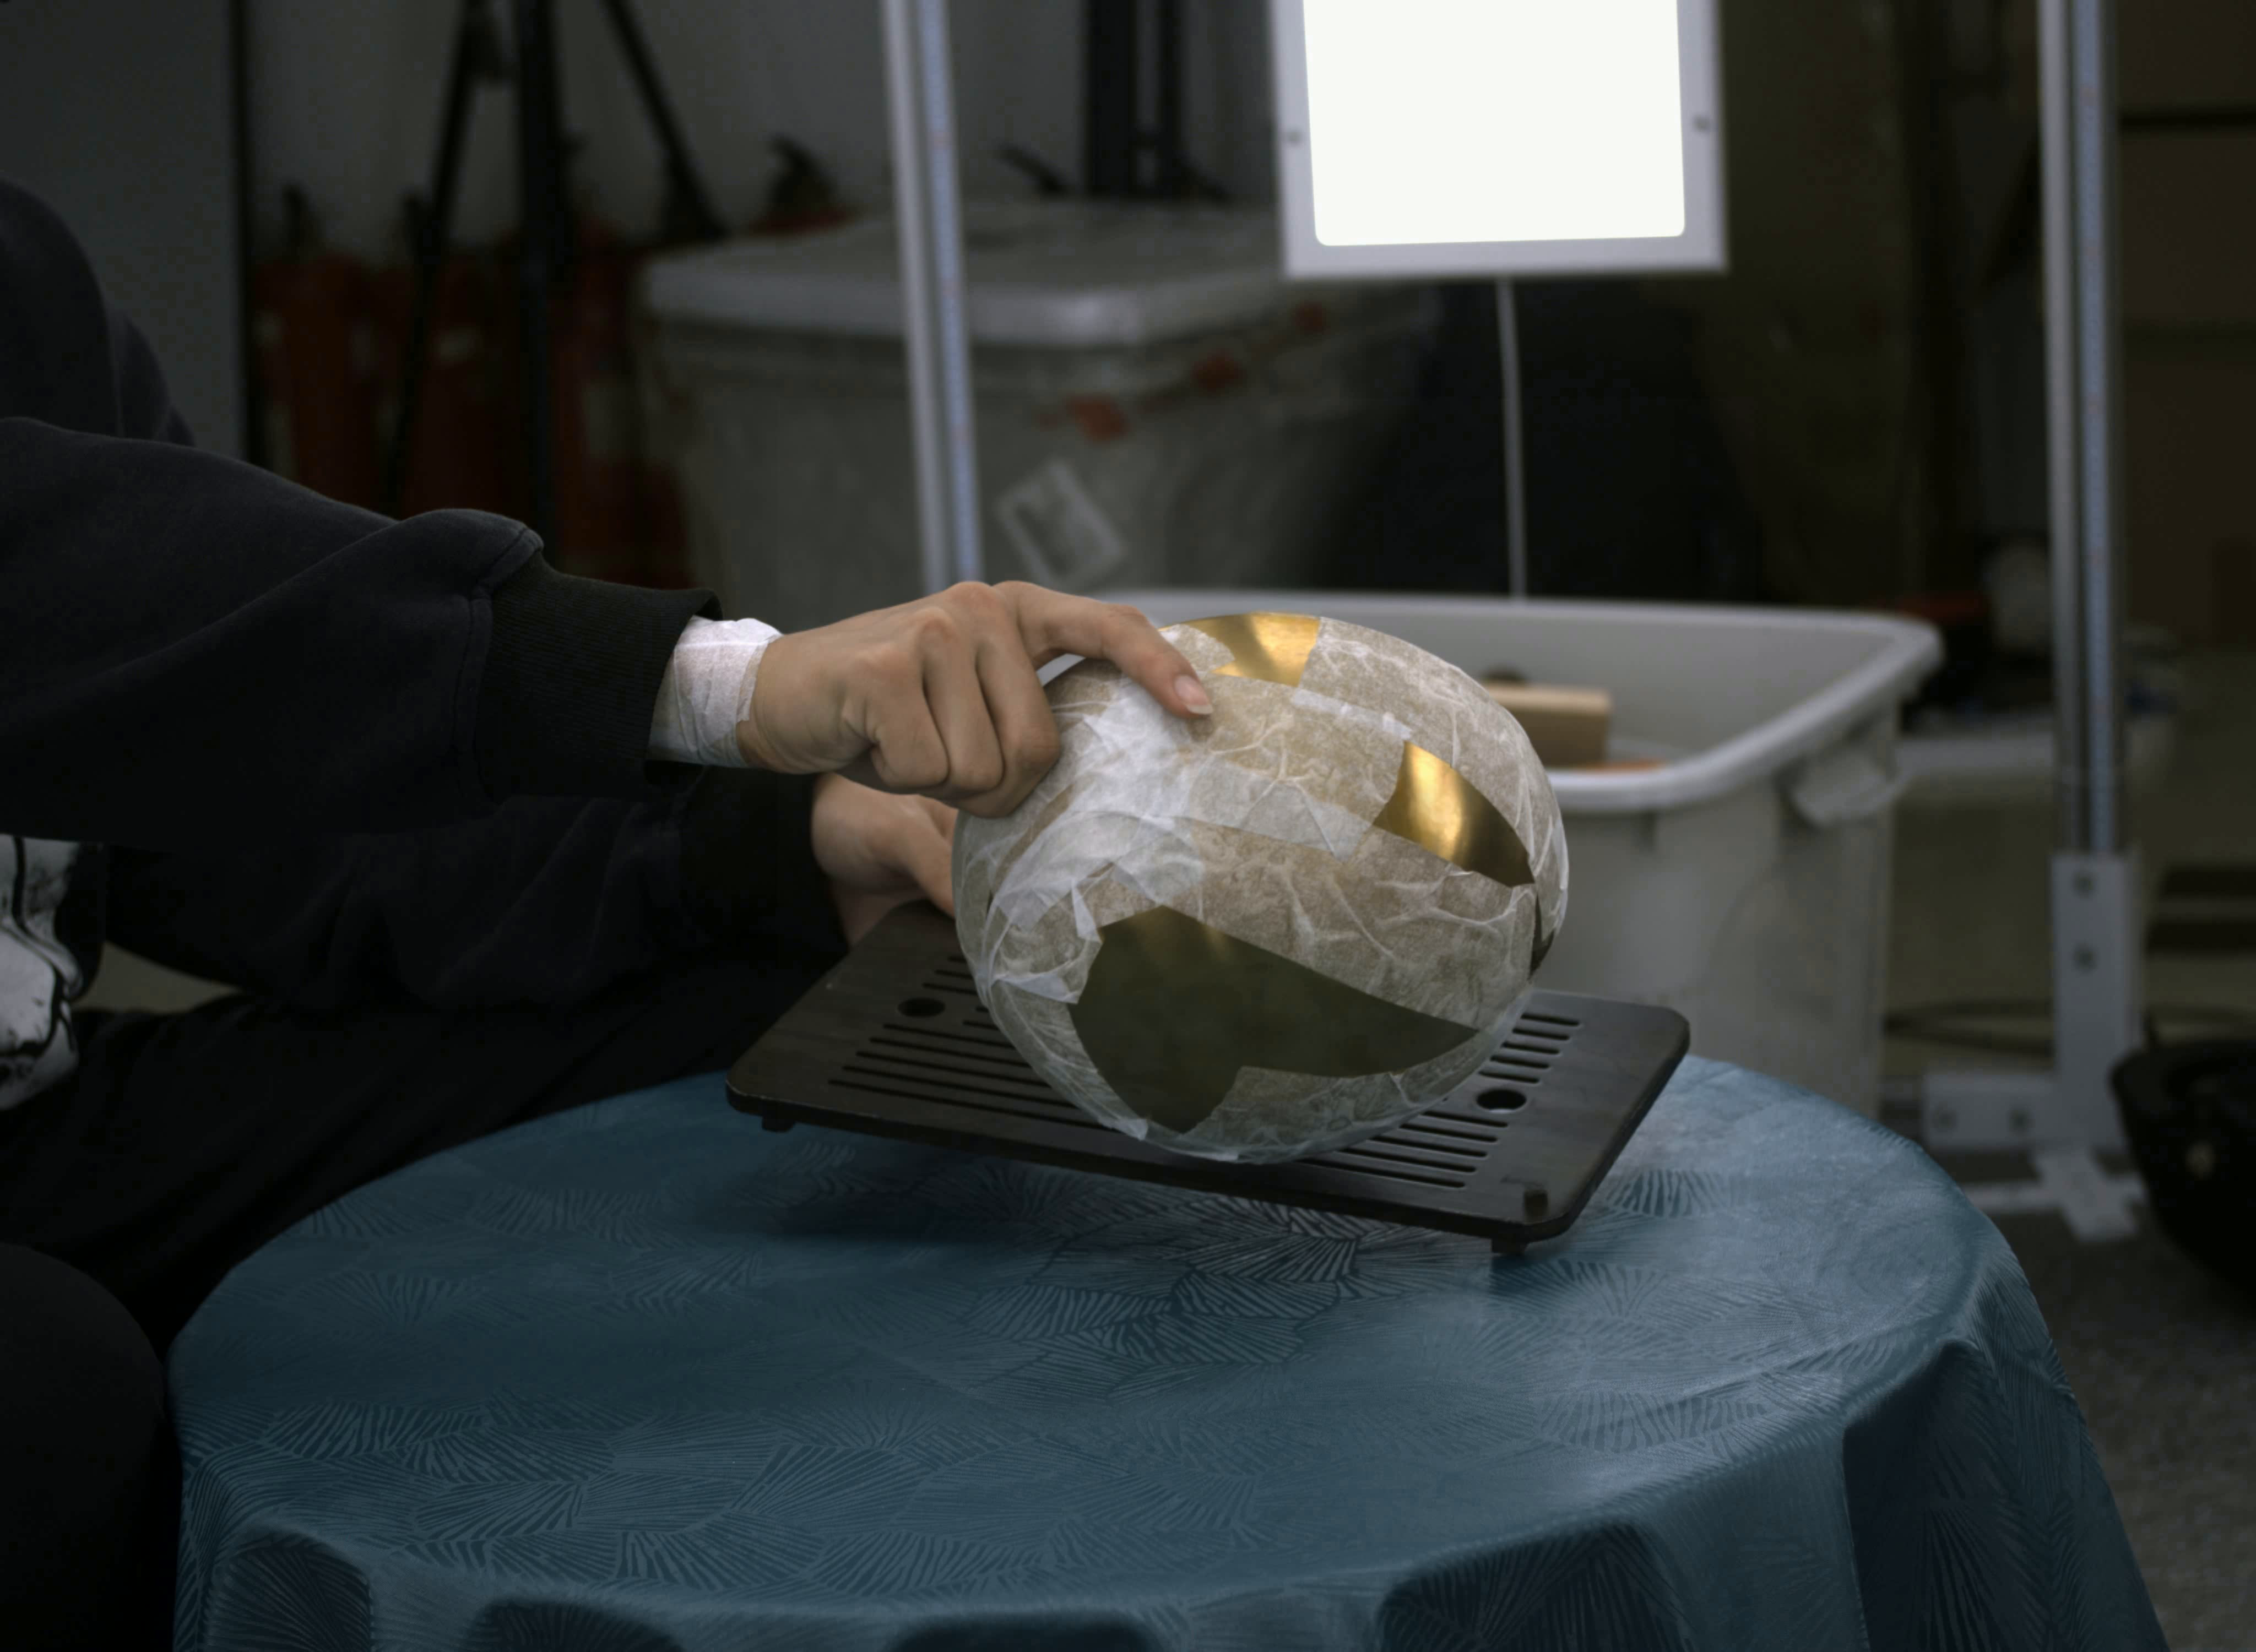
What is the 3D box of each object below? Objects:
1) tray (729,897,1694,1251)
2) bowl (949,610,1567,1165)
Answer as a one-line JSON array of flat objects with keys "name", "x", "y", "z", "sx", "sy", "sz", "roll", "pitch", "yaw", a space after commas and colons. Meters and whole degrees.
[{"name": "tray", "x": 0.030, "y": 0.084, "z": 1.910, "sx": 0.310, "sy": 0.019, "sz": 0.167, "roll": 8, "pitch": 26, "yaw": 22}, {"name": "bowl", "x": 0.039, "y": 0.040, "z": 1.766, "sx": 0.215, "sy": 0.215, "sz": 0.094, "roll": -3, "pitch": 39, "yaw": 5}]
